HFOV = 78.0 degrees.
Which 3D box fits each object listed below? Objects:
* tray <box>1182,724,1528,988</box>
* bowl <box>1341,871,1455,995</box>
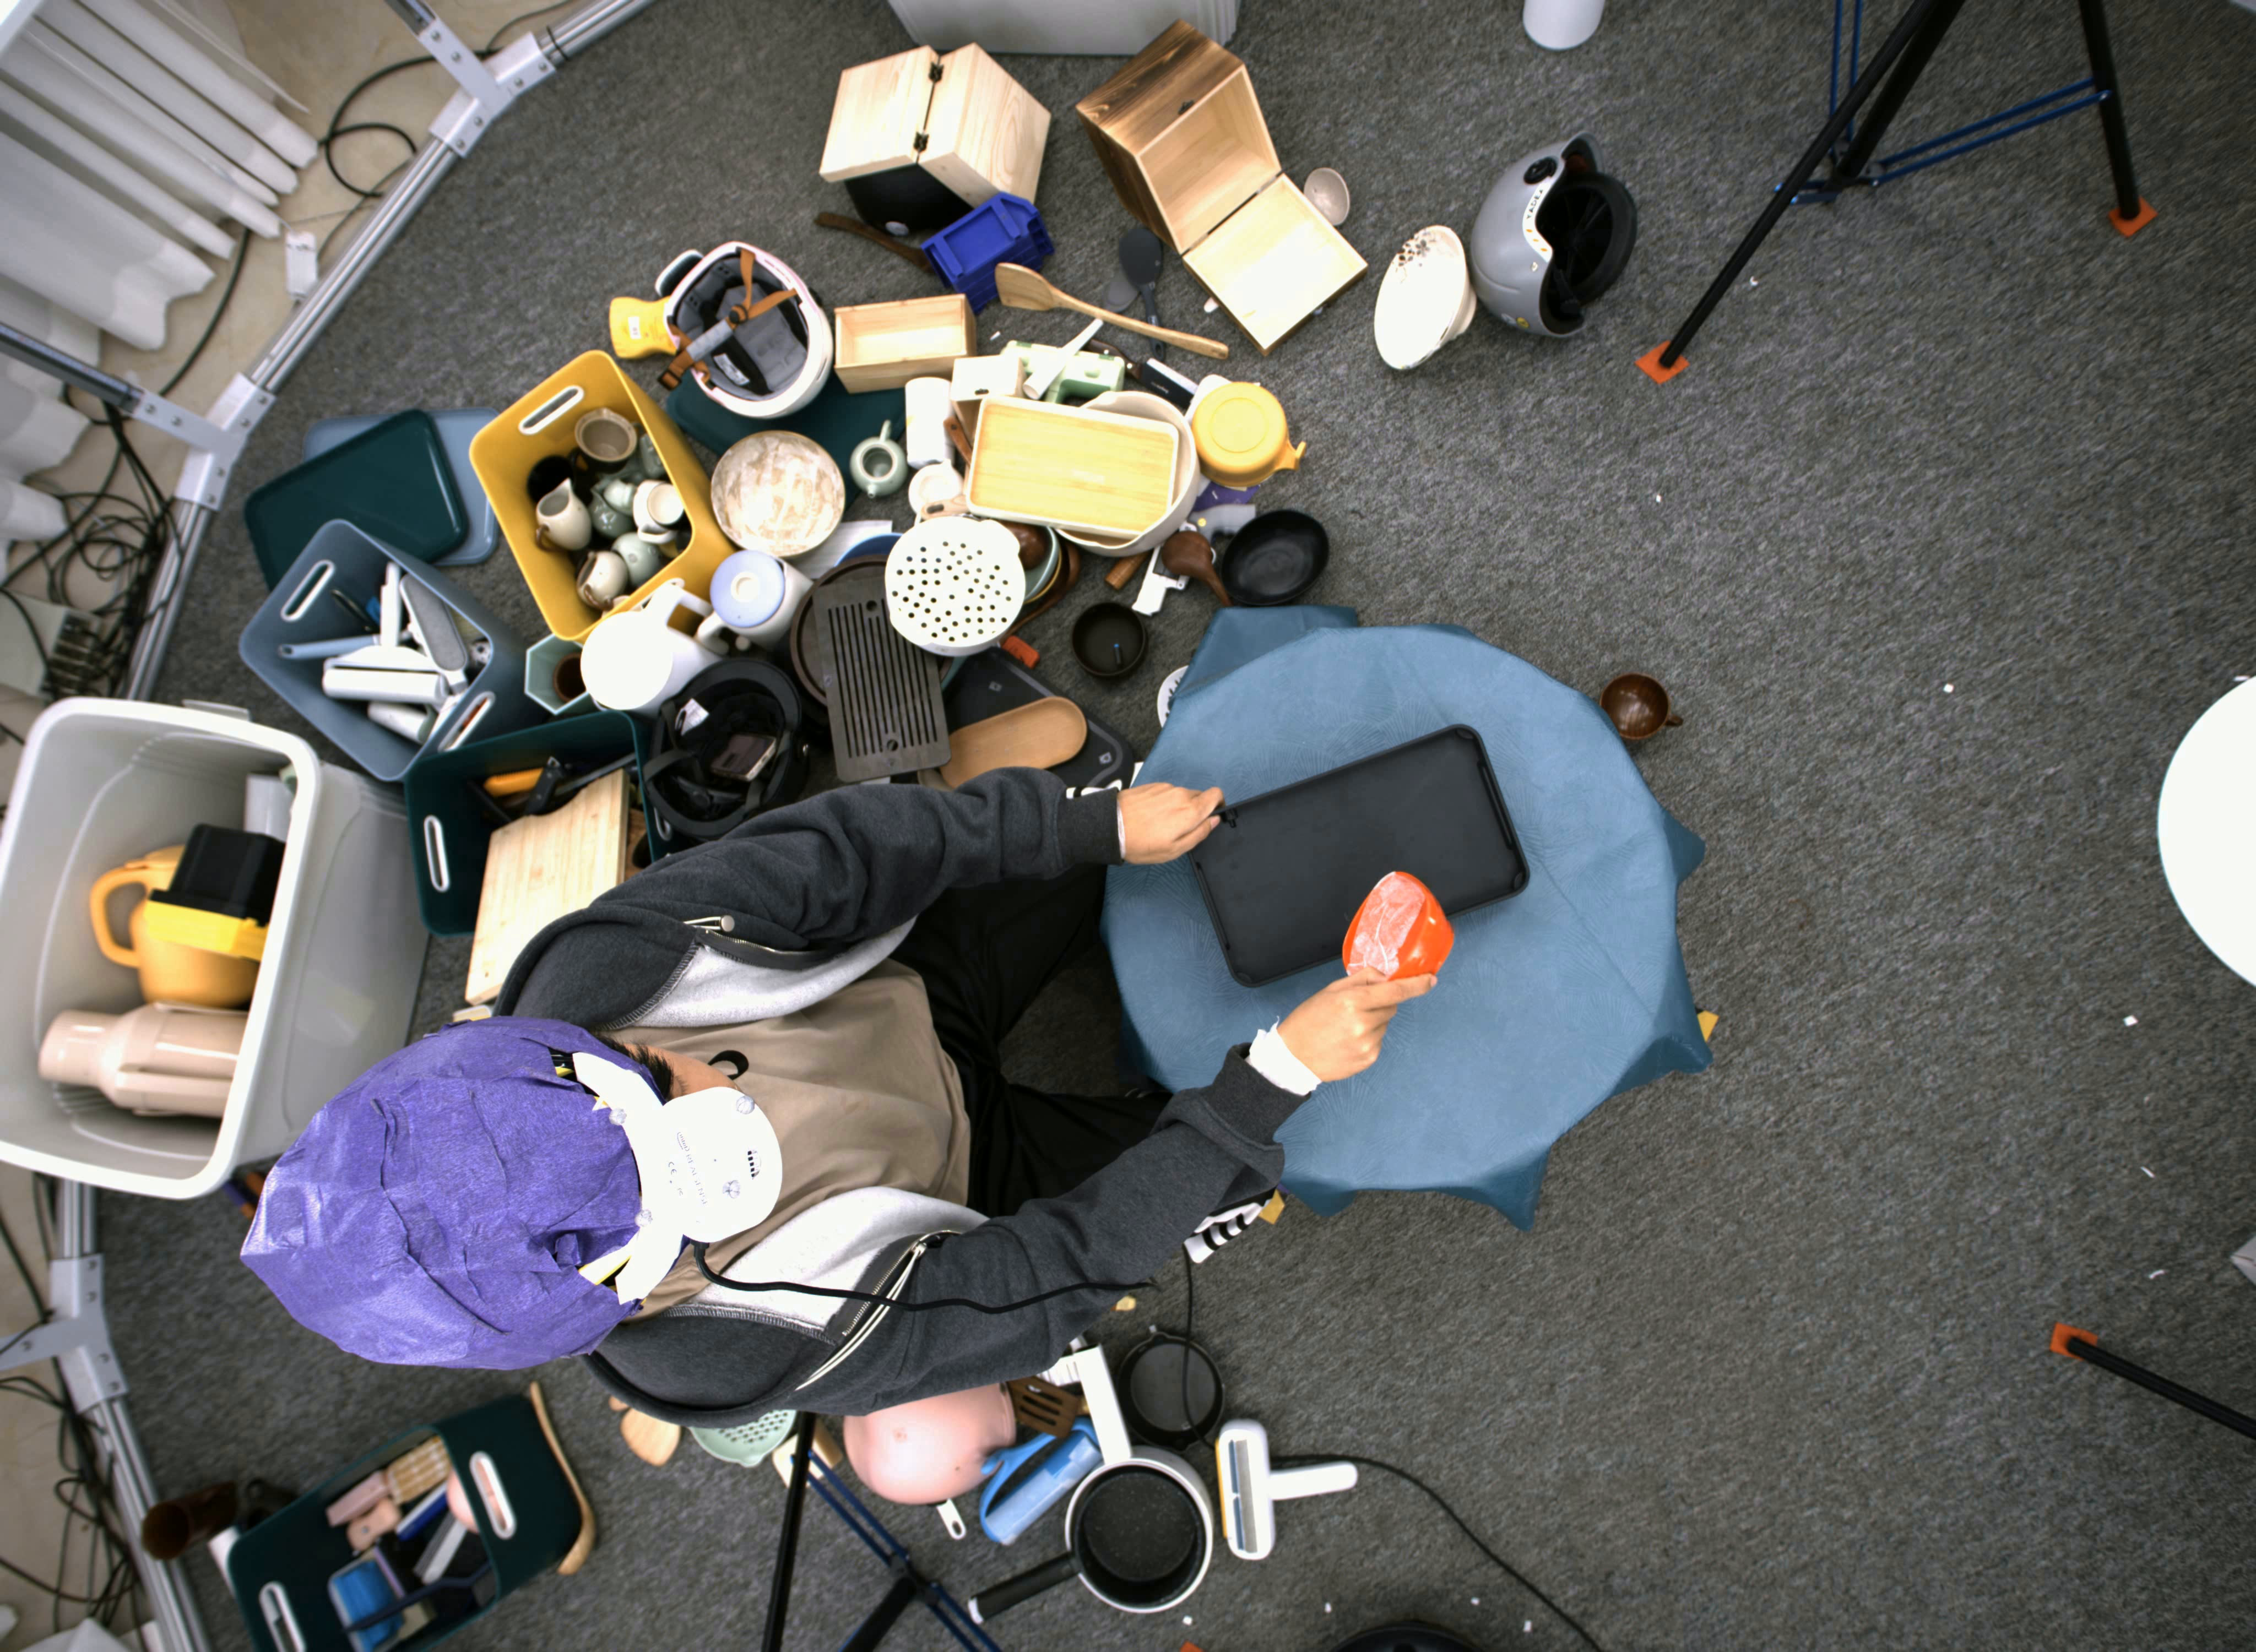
[{"bbox_3d":[0.229,0.030,1.402,0.319,0.037,0.184,-20,91,4],"label":"tray"},{"bbox_3d":[0.250,0.102,1.248,0.051,0.118,0.119,25,90,-25],"label":"bowl"}]
